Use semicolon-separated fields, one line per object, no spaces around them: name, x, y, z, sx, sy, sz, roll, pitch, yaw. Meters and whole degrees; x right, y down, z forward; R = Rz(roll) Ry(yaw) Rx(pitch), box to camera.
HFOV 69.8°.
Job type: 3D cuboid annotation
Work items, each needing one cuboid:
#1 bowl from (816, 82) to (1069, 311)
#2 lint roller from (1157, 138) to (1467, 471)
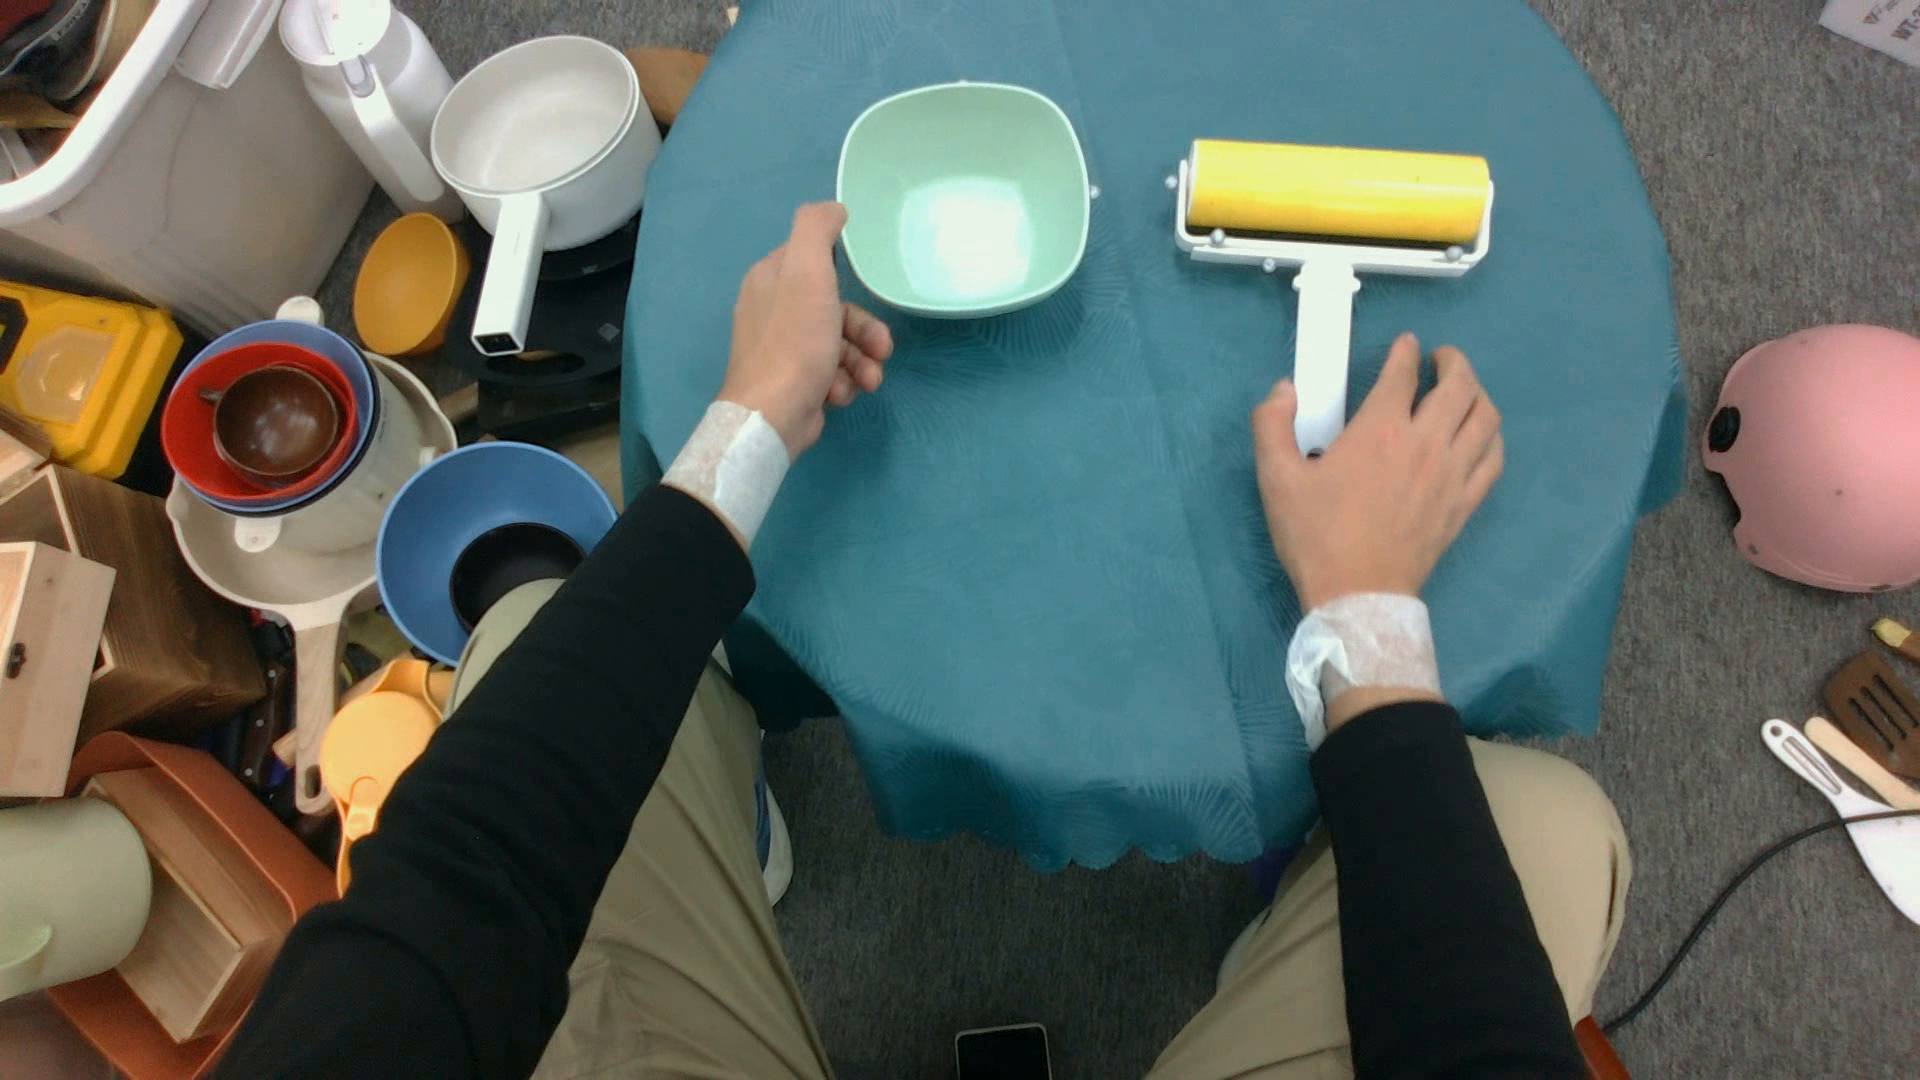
bowl;-0.010;-0.184;0.781;0.151;0.058;0.152;0;72;0
lint roller;0.197;-0.136;0.767;0.174;0.051;0.192;3;69;2
